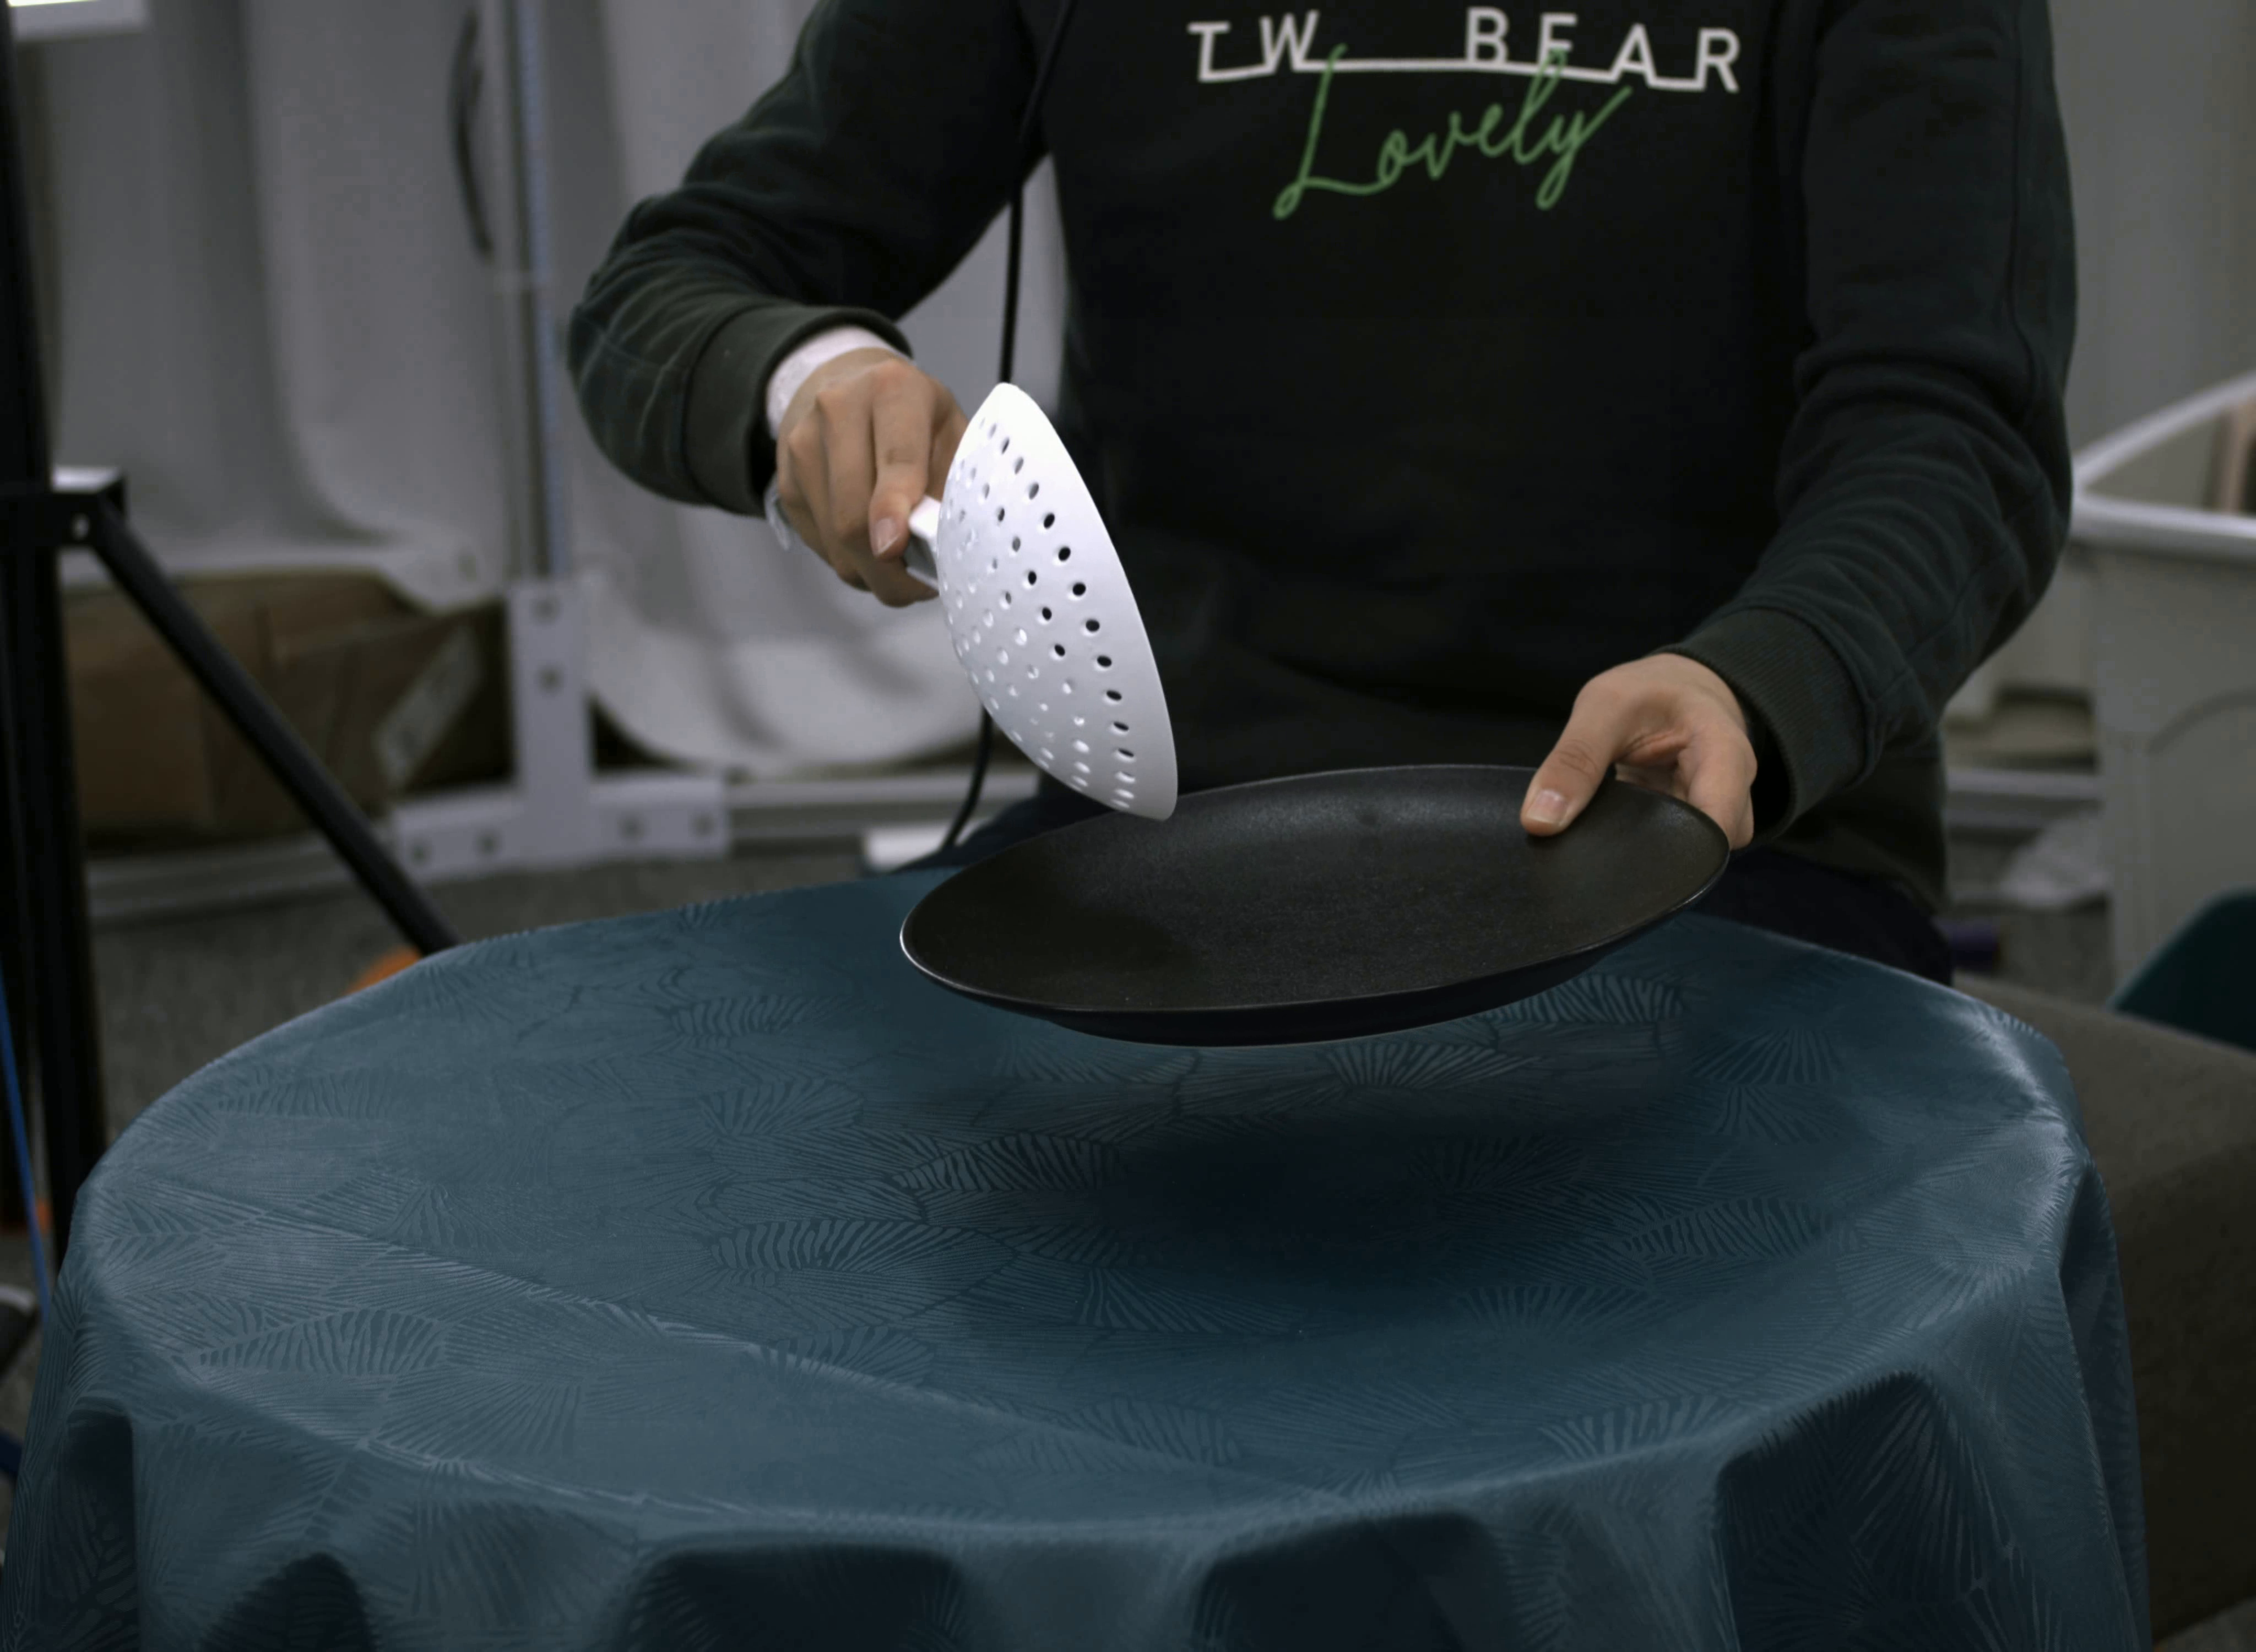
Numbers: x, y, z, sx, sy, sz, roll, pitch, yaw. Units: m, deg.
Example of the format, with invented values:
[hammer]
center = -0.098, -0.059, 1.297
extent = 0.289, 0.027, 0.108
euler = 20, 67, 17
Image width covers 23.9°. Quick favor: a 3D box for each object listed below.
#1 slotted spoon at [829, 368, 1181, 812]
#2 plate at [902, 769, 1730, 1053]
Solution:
[slotted spoon]
center = -0.047, -0.083, 1.663
extent = 0.045, 0.136, 0.353
euler = -18, 13, -7
[plate]
center = 0.056, 0.027, 1.552
extent = 0.243, 0.023, 0.245
euler = -7, 15, 1
